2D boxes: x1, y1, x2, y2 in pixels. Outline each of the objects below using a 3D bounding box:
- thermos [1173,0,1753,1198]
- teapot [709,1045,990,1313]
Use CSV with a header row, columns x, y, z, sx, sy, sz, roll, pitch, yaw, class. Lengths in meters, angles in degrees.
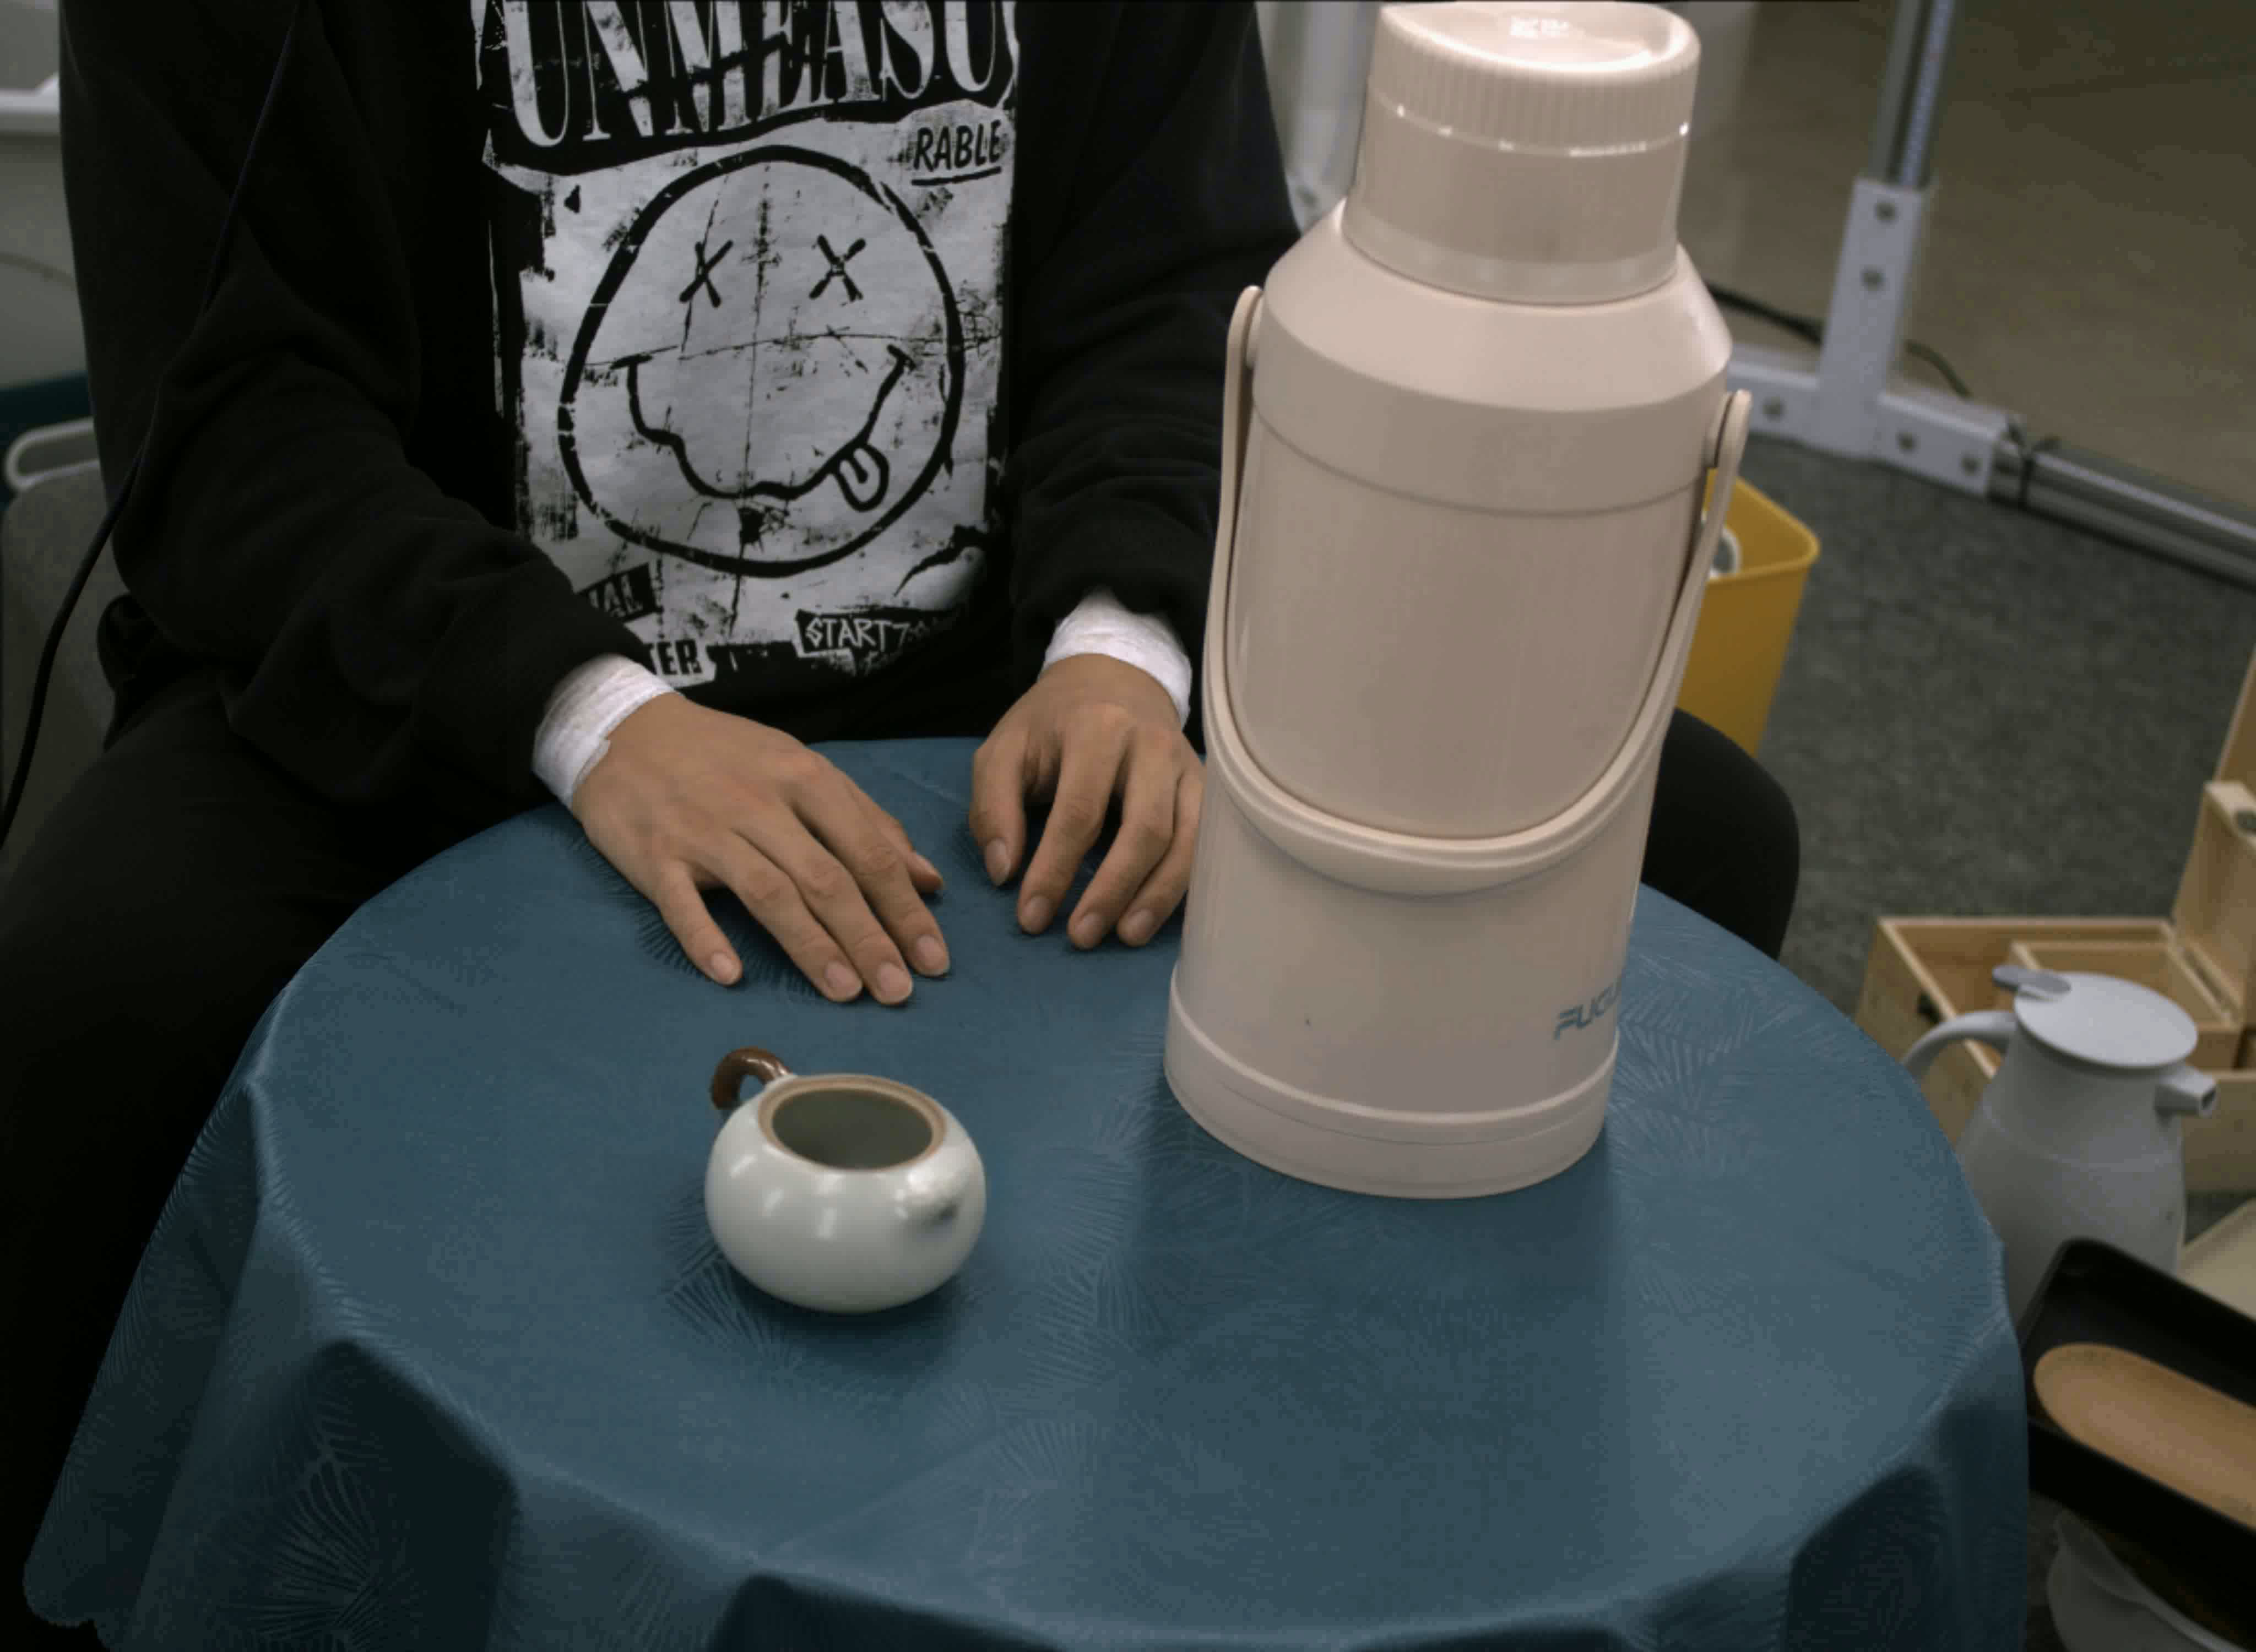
x,y,z,sx,sy,sz,roll,pitch,yaw,class
0.118,-0.089,1.814,0.175,0.405,0.207,11,27,12,thermos
-0.097,0.115,1.735,0.091,0.059,0.129,-21,38,-35,teapot
